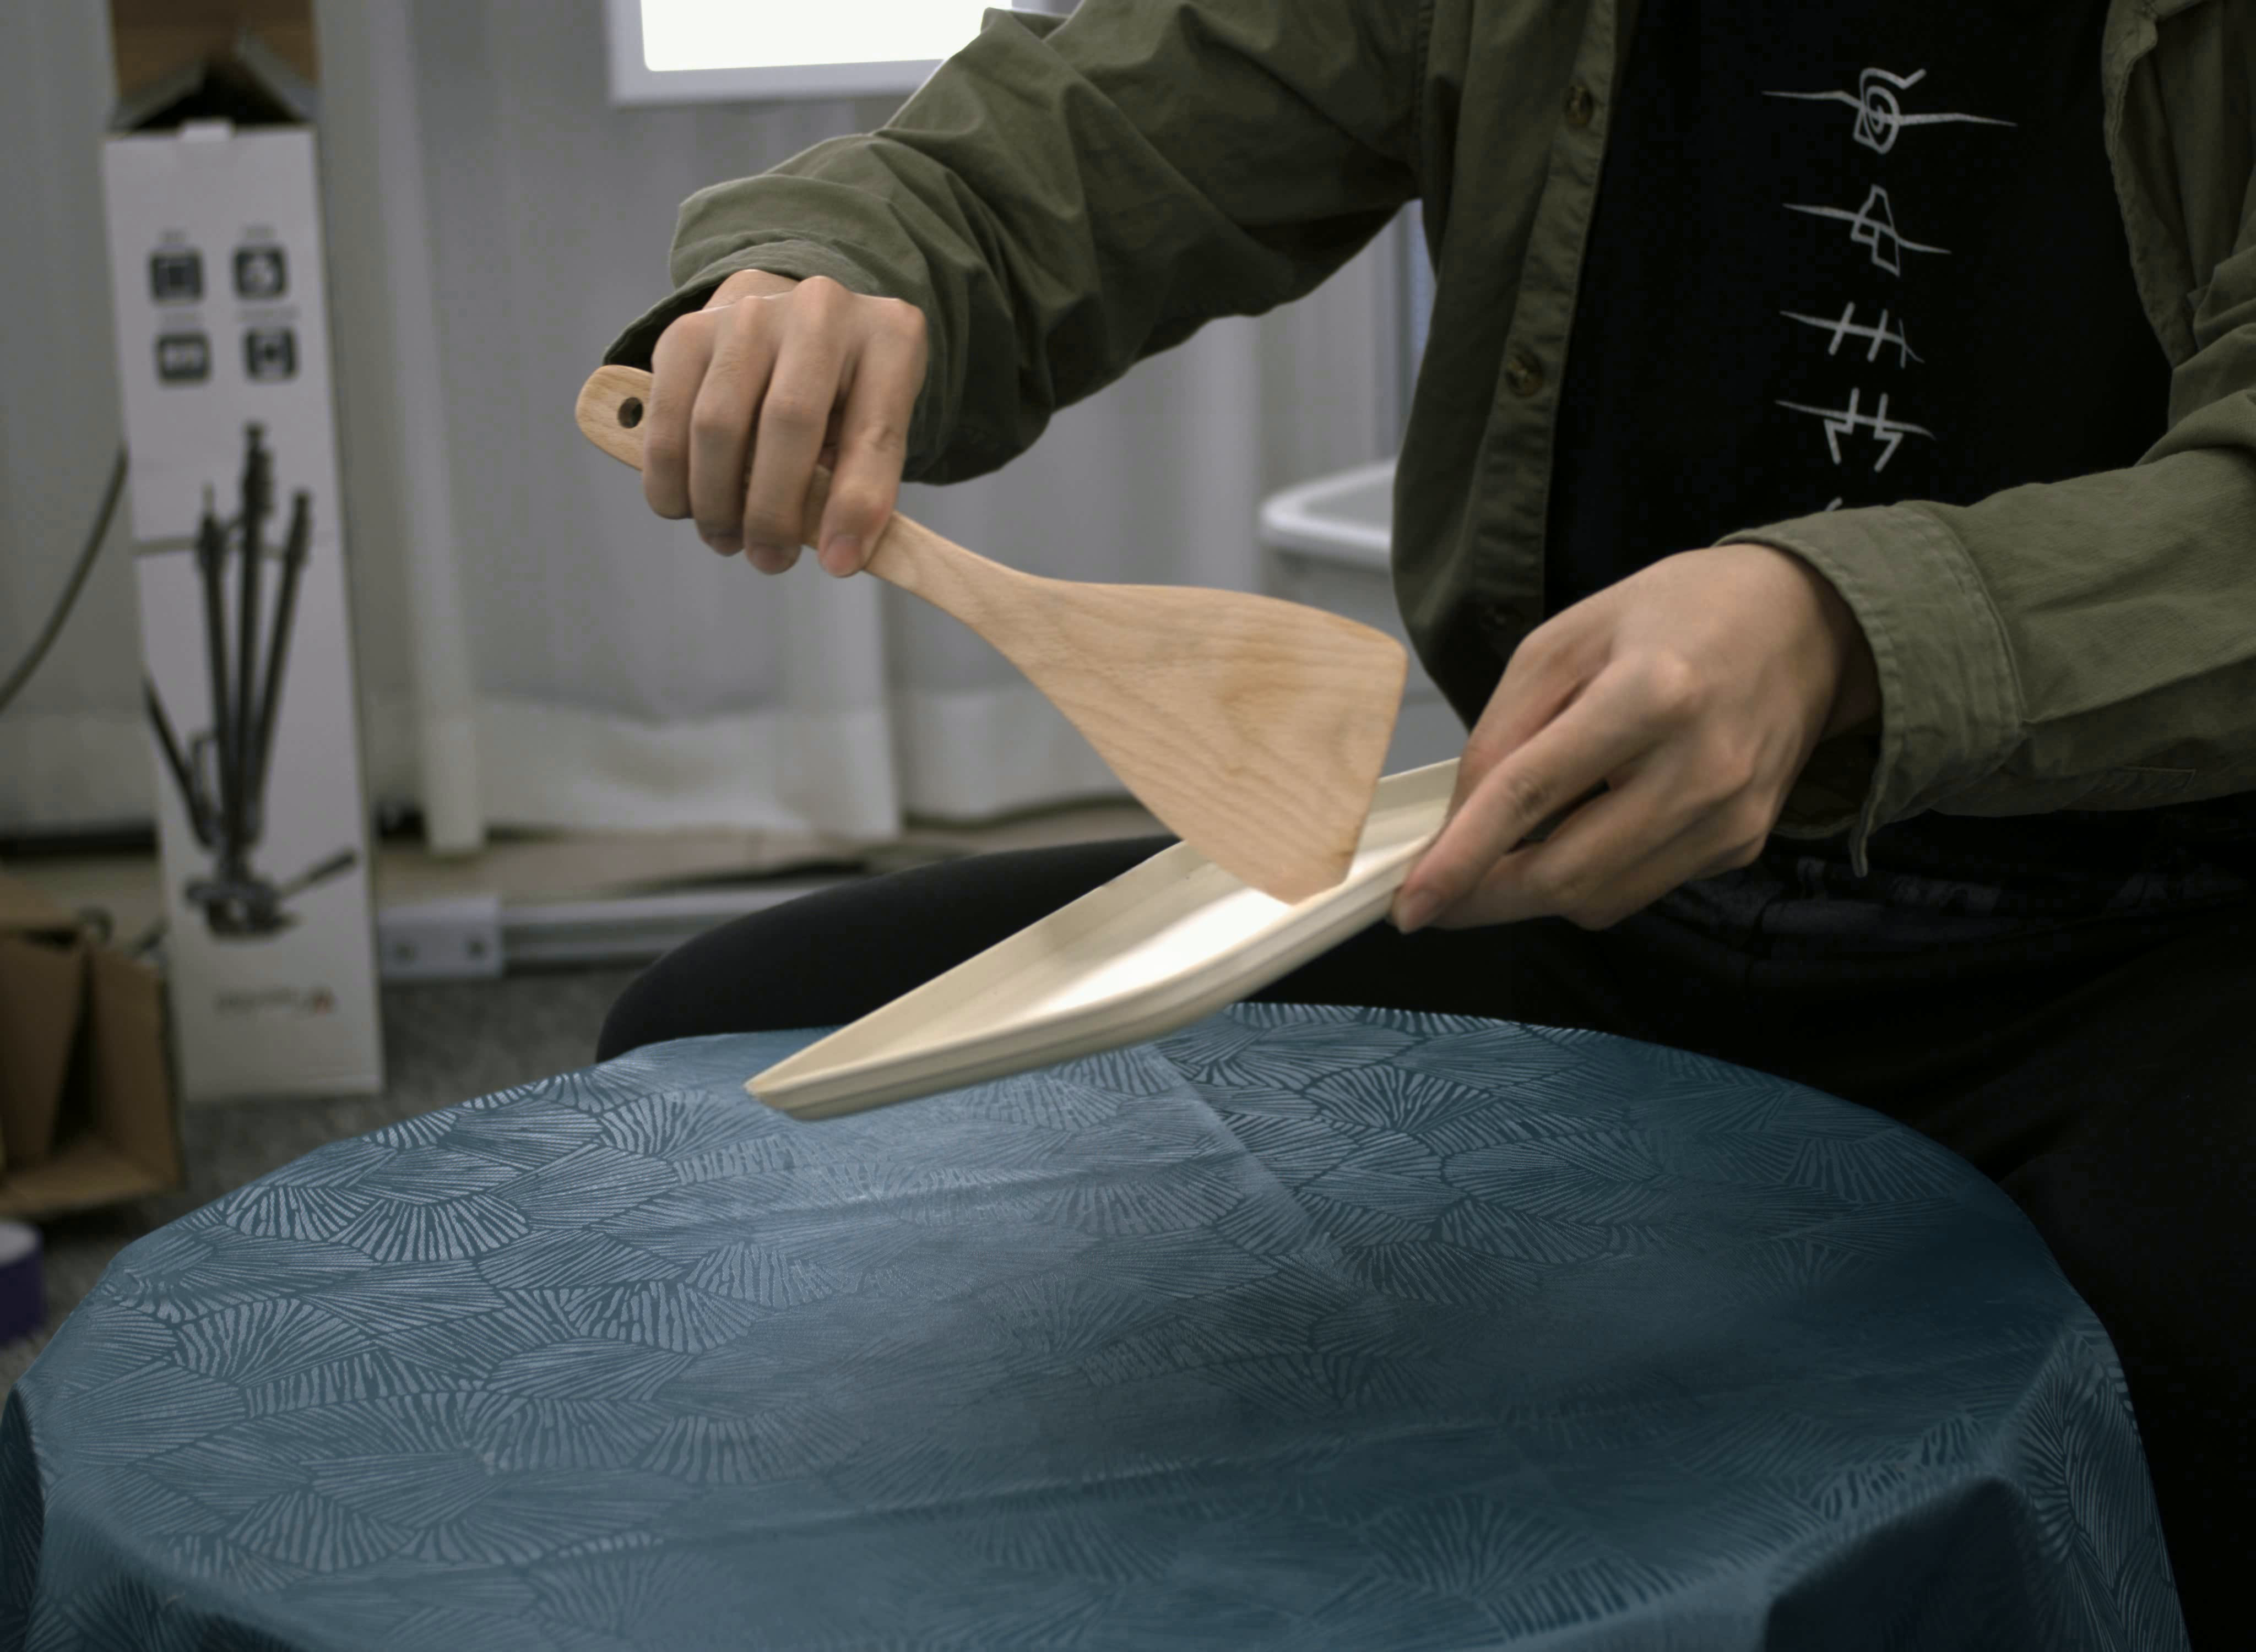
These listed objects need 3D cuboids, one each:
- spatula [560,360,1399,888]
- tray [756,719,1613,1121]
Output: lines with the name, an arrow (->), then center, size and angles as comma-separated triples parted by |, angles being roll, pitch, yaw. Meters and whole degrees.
spatula -> -0.051, -0.075, 1.591 | 0.330, 0.080, 0.016 | 26, 3, 33
tray -> 0.020, 0.027, 1.518 | 0.171, 0.017, 0.240 | -15, 8, 41
